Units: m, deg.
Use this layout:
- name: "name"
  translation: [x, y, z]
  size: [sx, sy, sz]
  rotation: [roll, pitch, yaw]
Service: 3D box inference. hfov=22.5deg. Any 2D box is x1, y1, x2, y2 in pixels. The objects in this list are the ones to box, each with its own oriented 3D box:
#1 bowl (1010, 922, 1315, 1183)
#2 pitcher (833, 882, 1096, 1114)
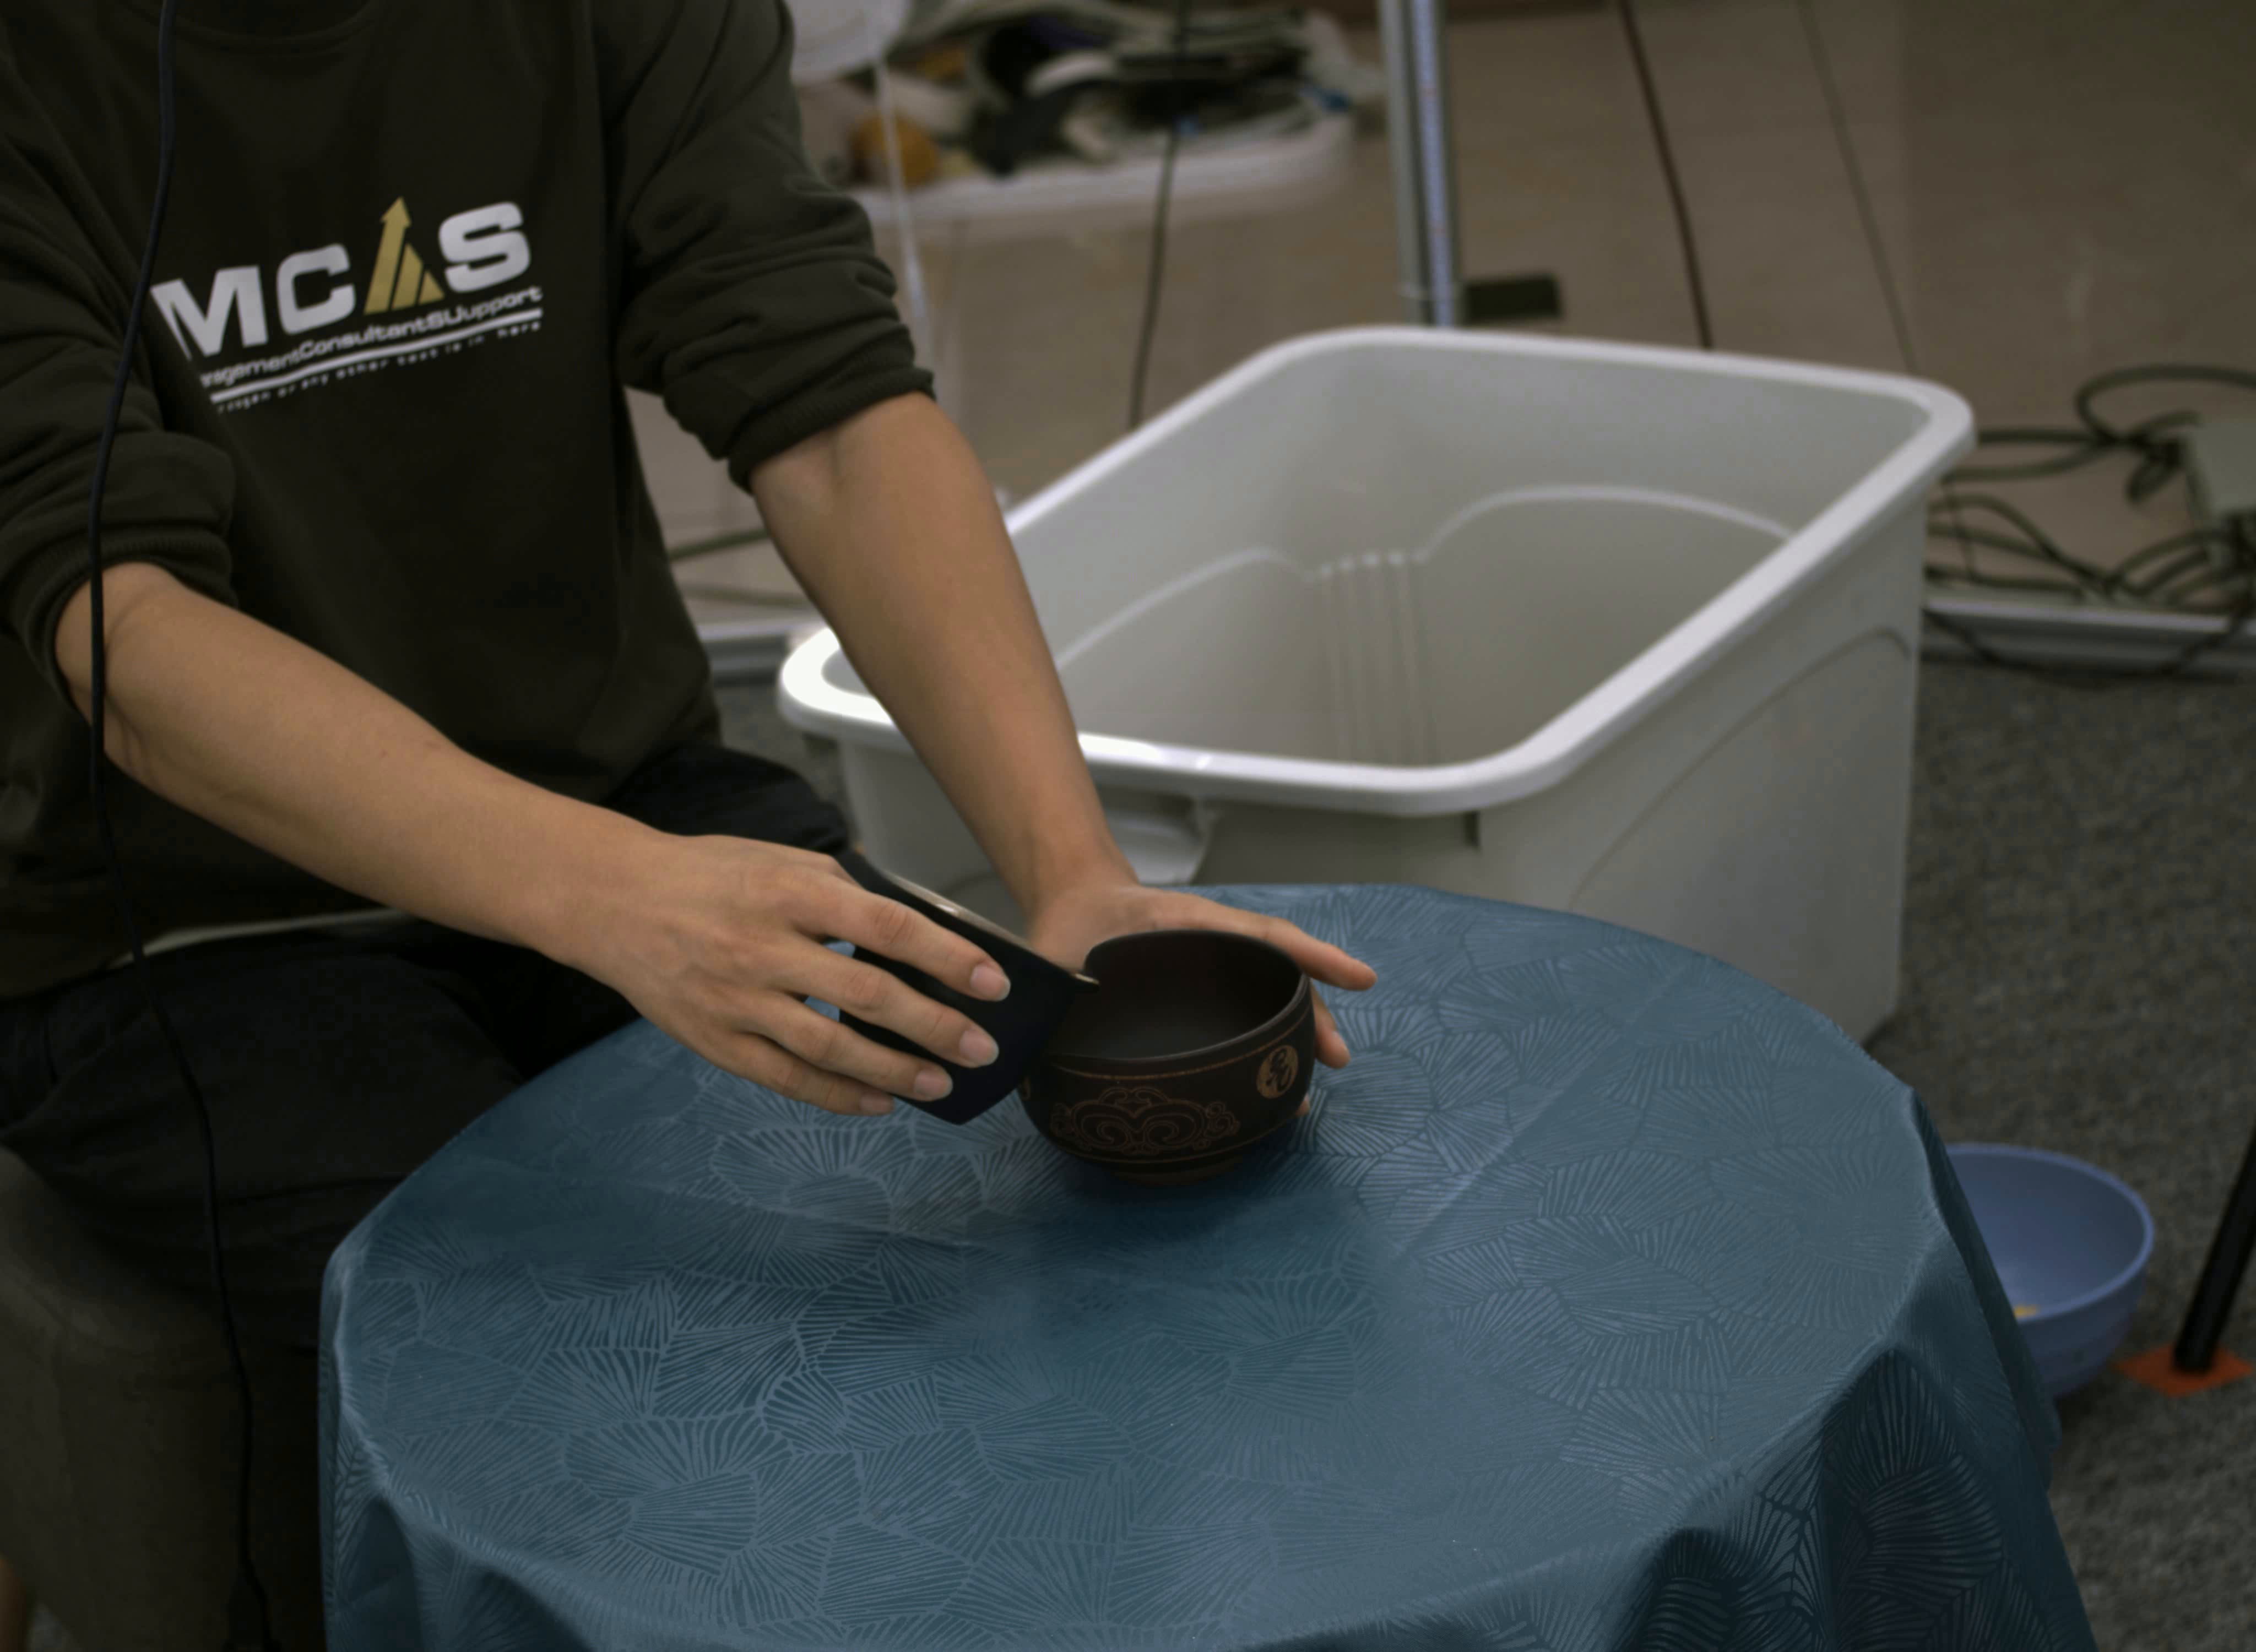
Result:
- name: "bowl"
  translation: [0.014, 0.092, 2.159]
  size: [0.118, 0.071, 0.116]
  rotation: [-5, 27, 3]
- name: "pitcher"
  translation: [-0.066, 0.066, 2.097]
  size: [0.096, 0.071, 0.083]
  rotation: [27, -1, -26]
